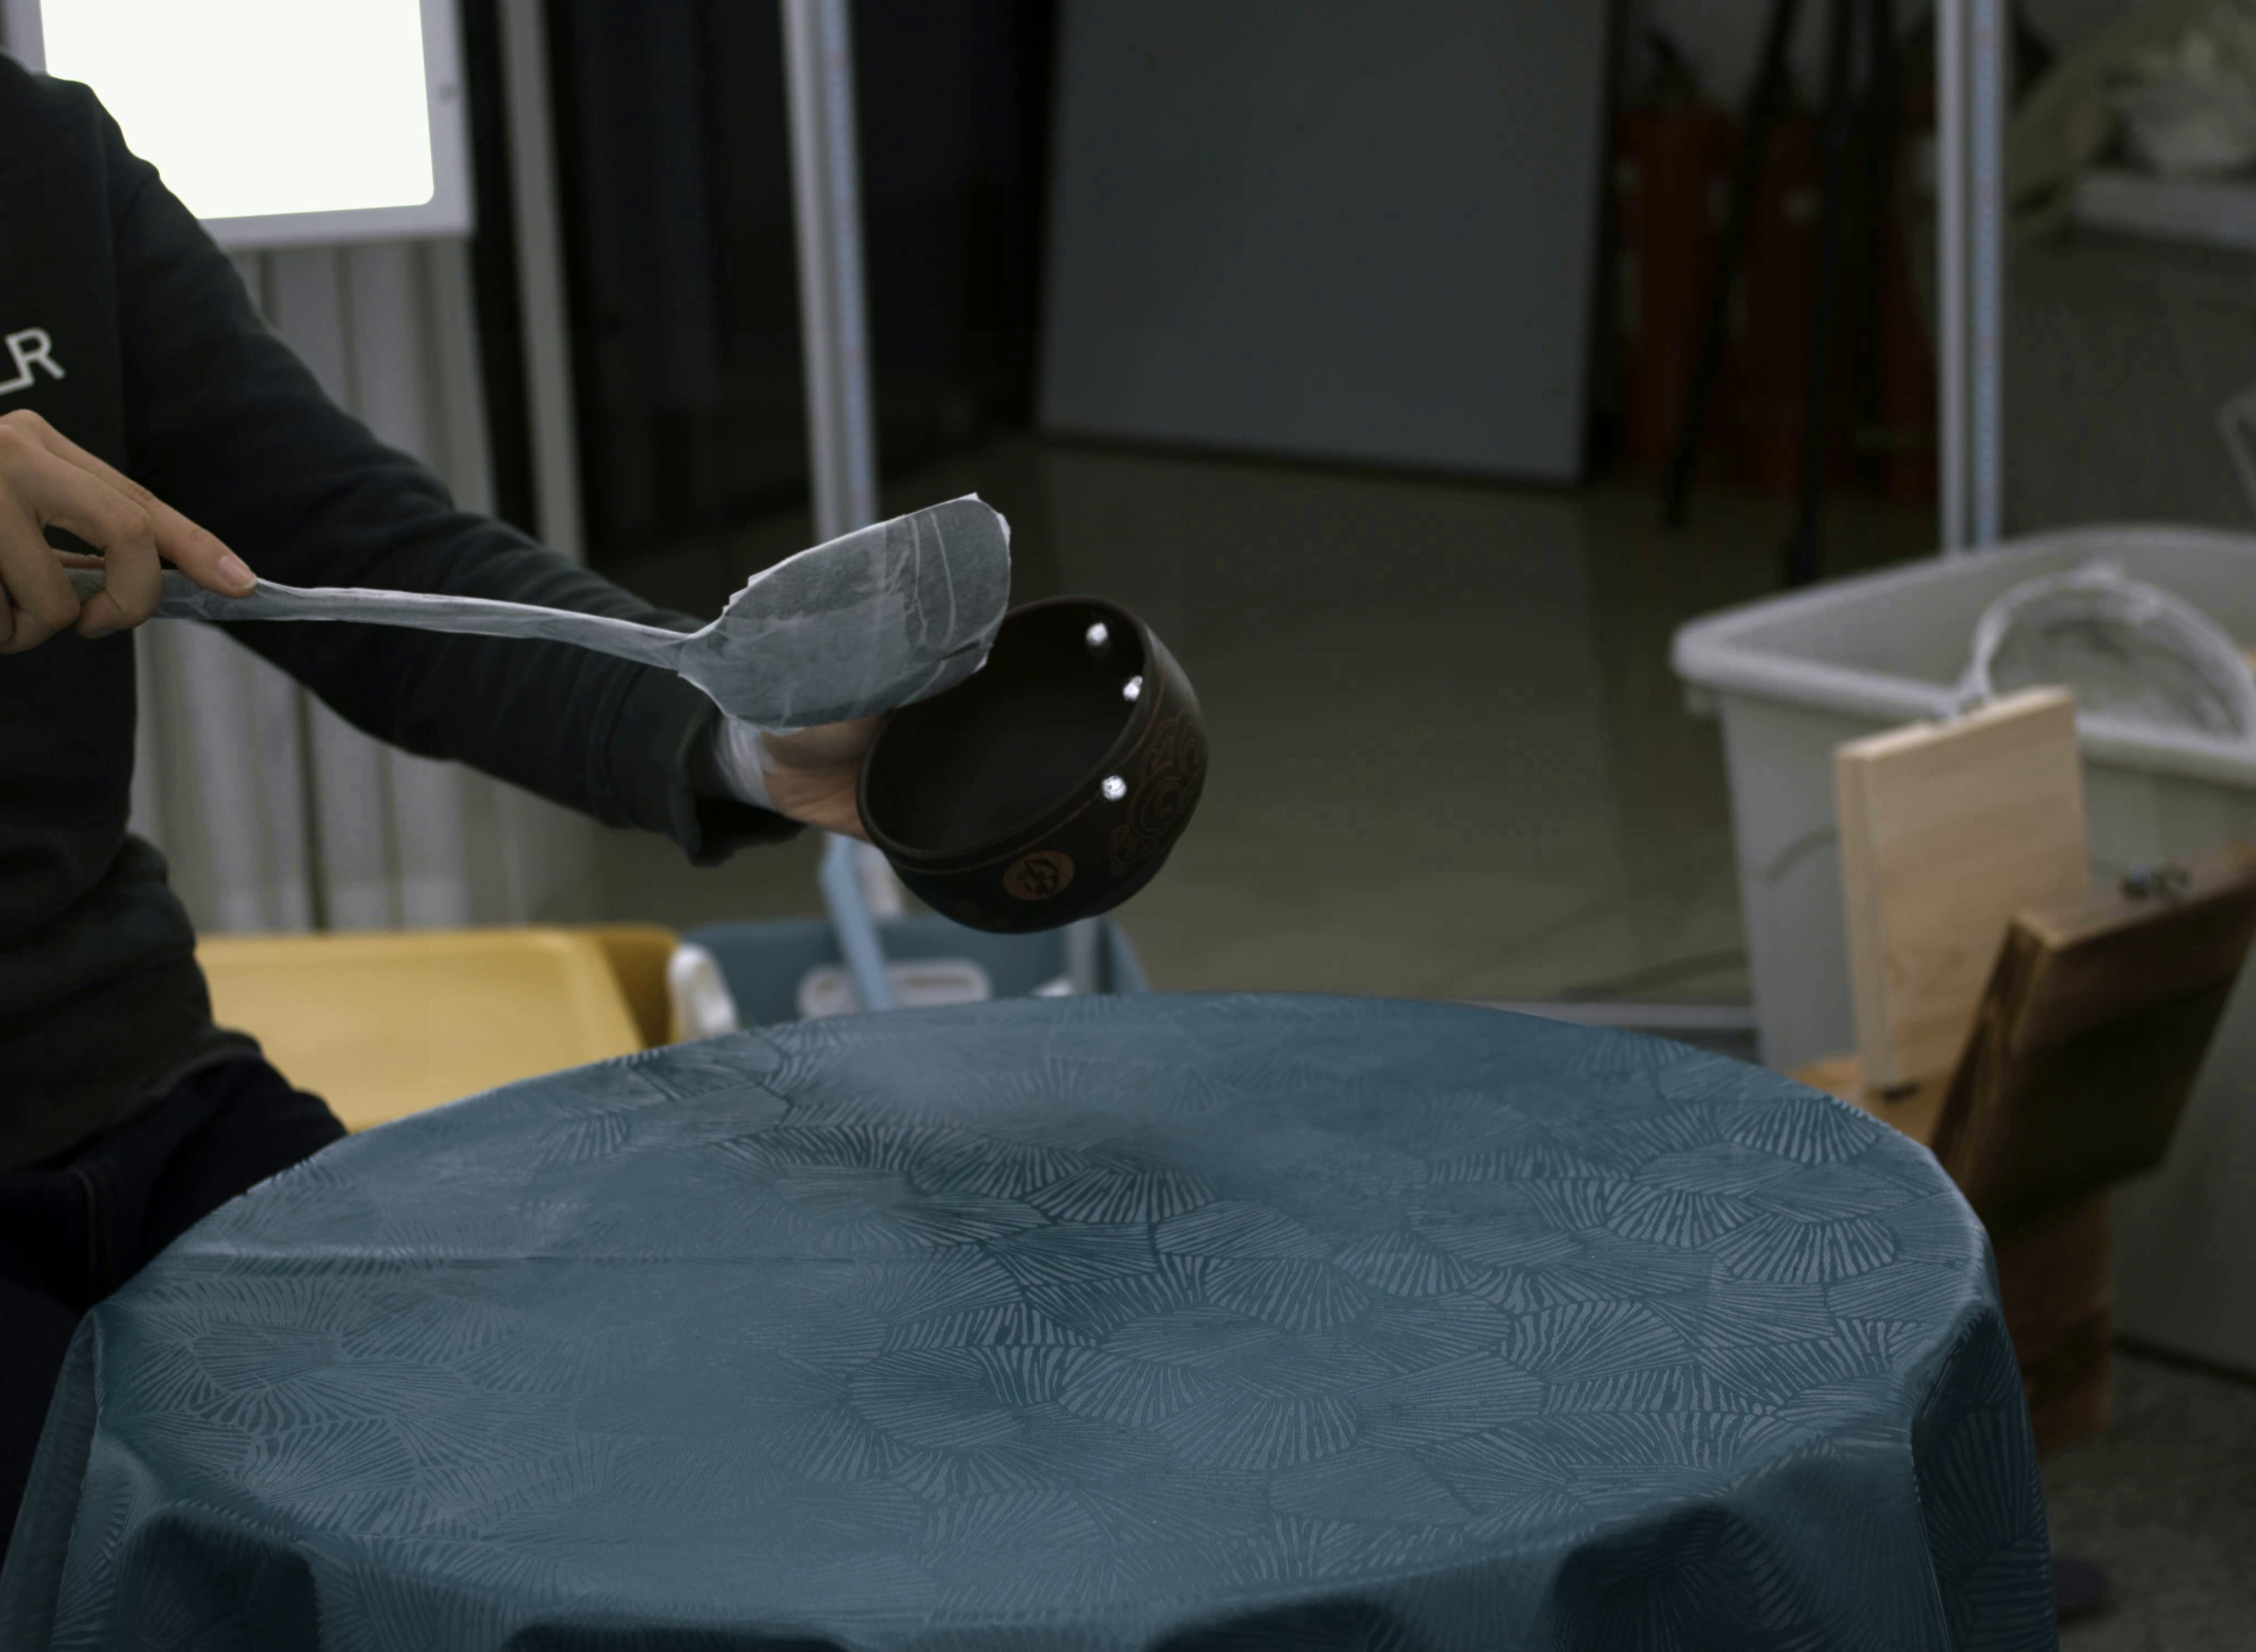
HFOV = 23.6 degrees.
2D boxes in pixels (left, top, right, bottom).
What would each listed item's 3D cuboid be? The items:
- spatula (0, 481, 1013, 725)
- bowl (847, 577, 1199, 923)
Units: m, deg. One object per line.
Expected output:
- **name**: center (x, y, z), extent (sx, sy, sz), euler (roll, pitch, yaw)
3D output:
- **spatula**: center (-0.215, -0.069, 1.688), extent (0.359, 0.099, 0.045), euler (2, 53, -3)
- **bowl**: center (-0.027, -0.016, 1.781), extent (0.118, 0.069, 0.119), euler (-26, 35, 18)
